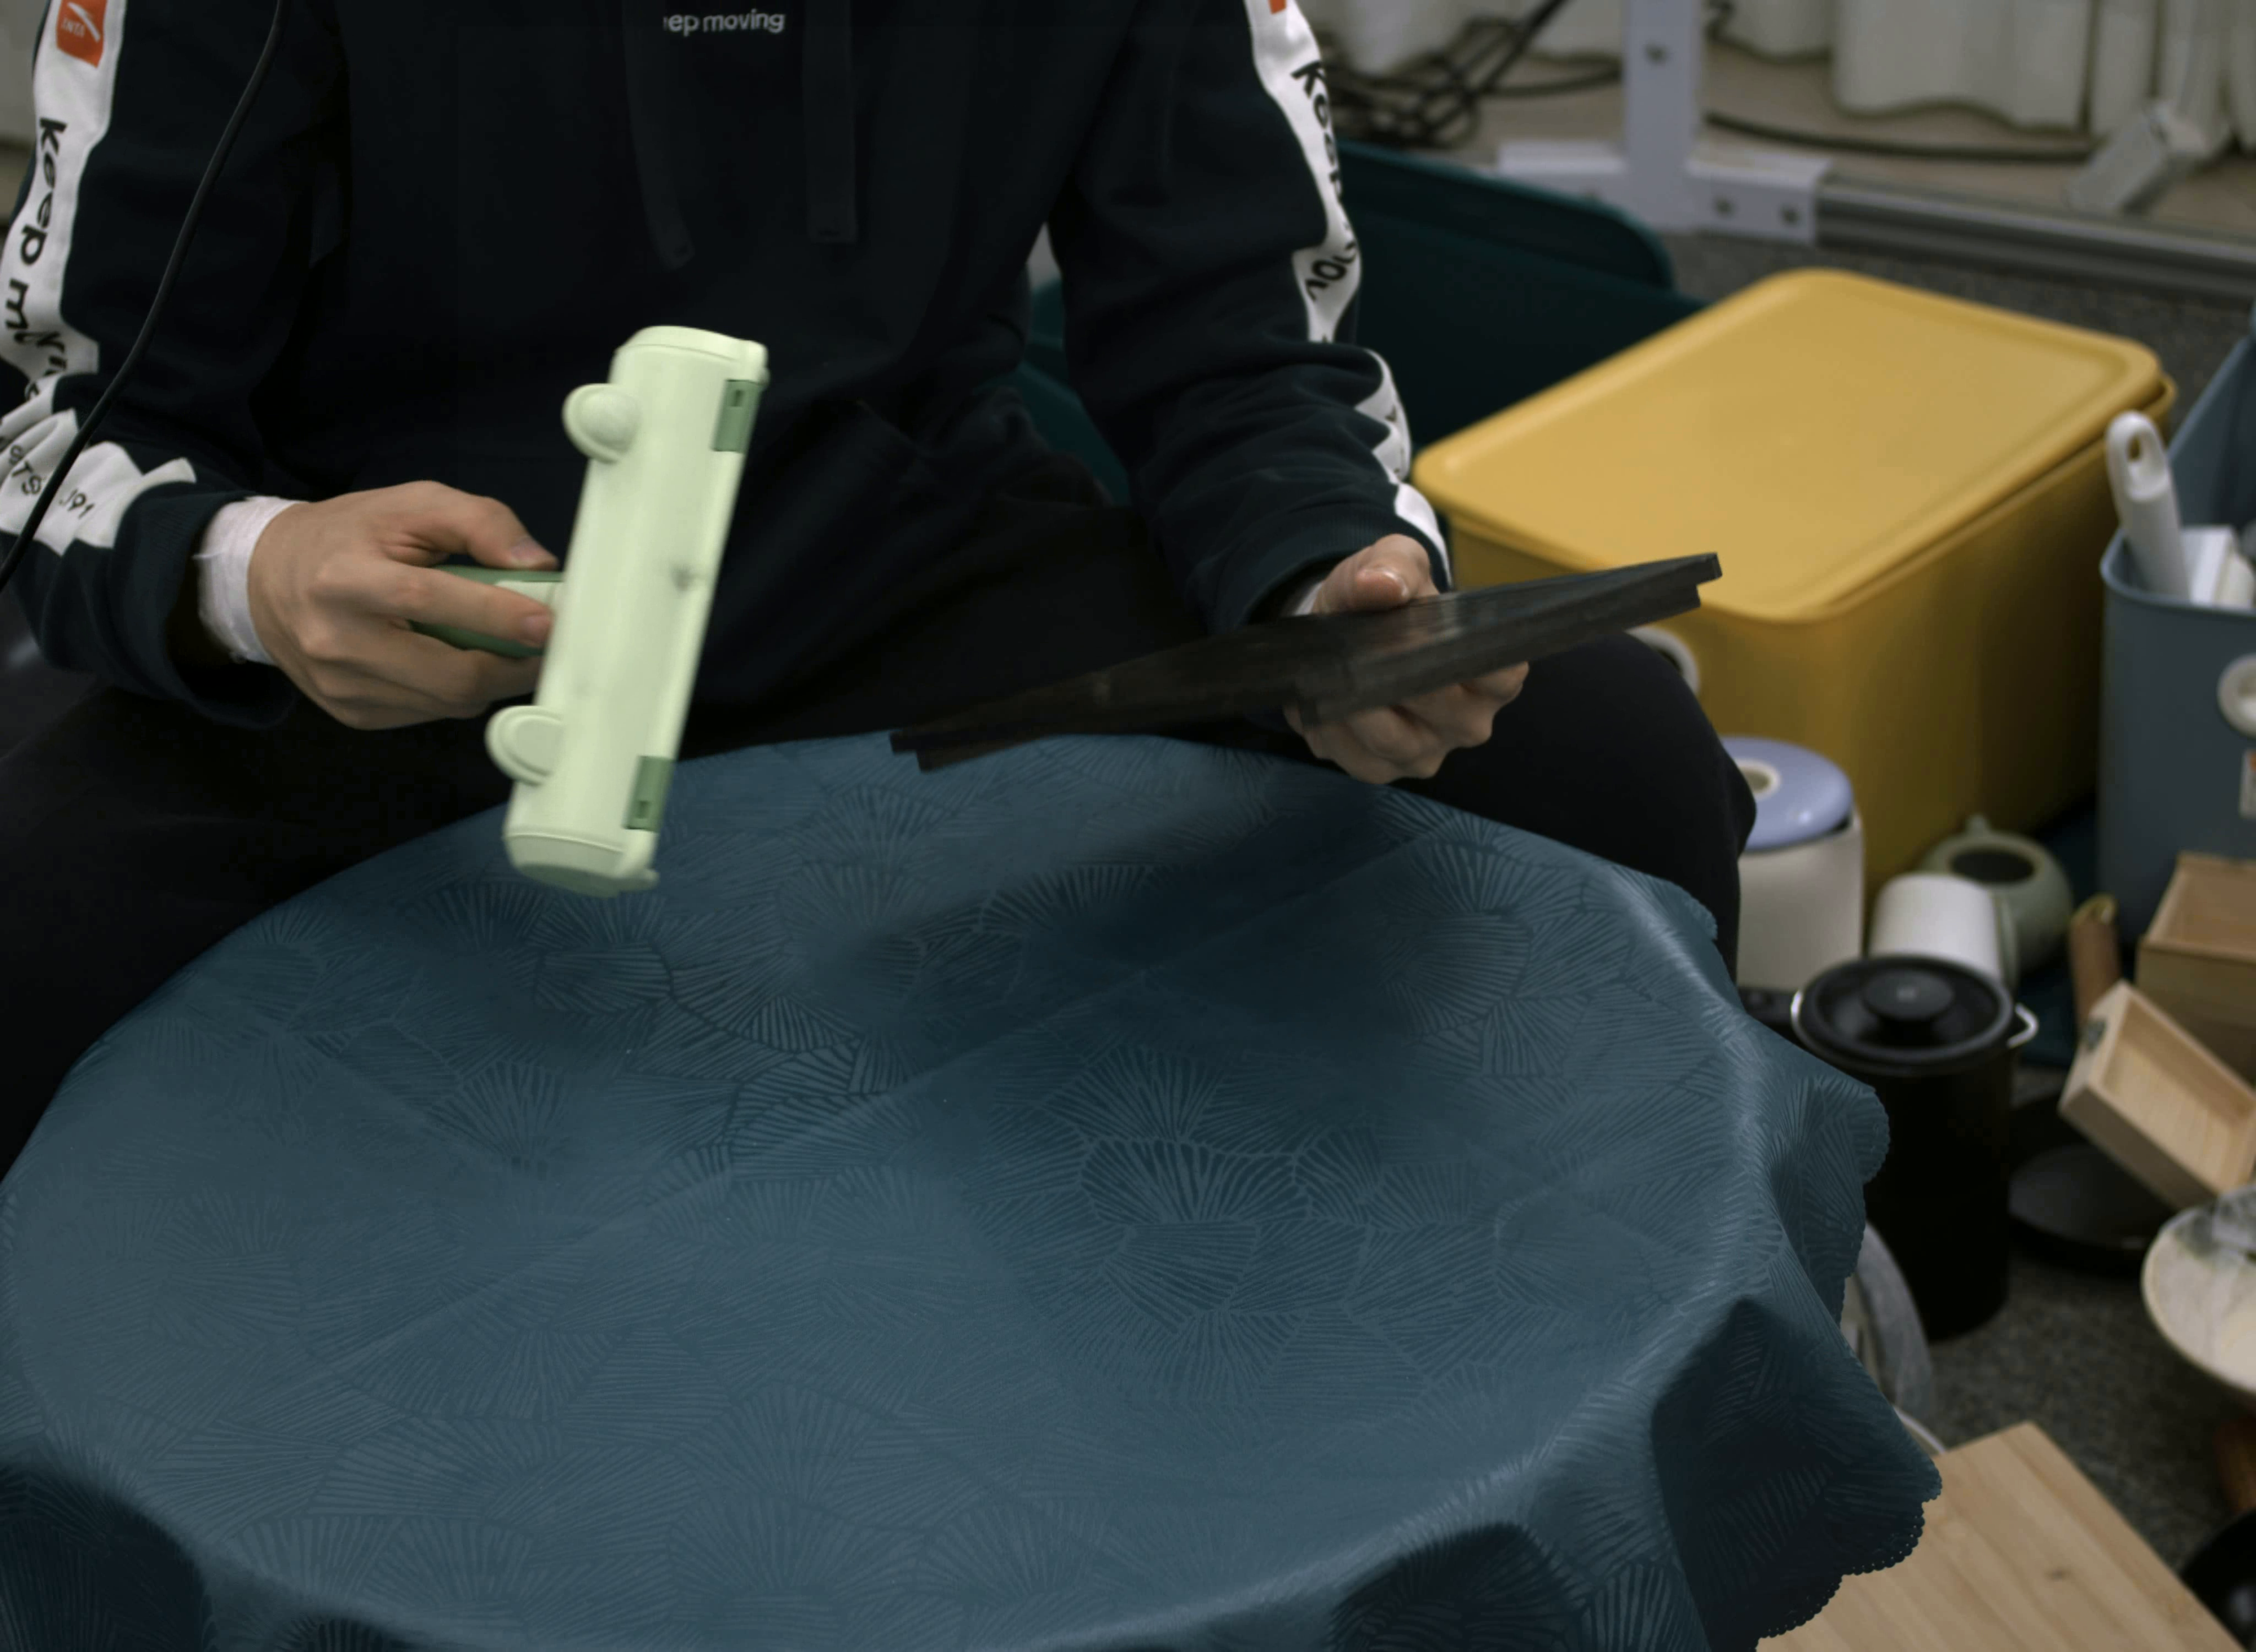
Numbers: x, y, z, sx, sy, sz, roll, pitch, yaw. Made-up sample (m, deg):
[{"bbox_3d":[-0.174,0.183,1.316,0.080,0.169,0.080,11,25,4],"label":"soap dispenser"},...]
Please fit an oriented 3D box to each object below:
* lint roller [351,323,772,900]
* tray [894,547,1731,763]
[{"bbox_3d":[-0.215,-0.079,1.957,0.182,0.201,0.082,3,-16,31],"label":"lint roller"},{"bbox_3d":[0.058,-0.056,1.927,0.171,0.018,0.303,-16,5,-30],"label":"tray"}]
